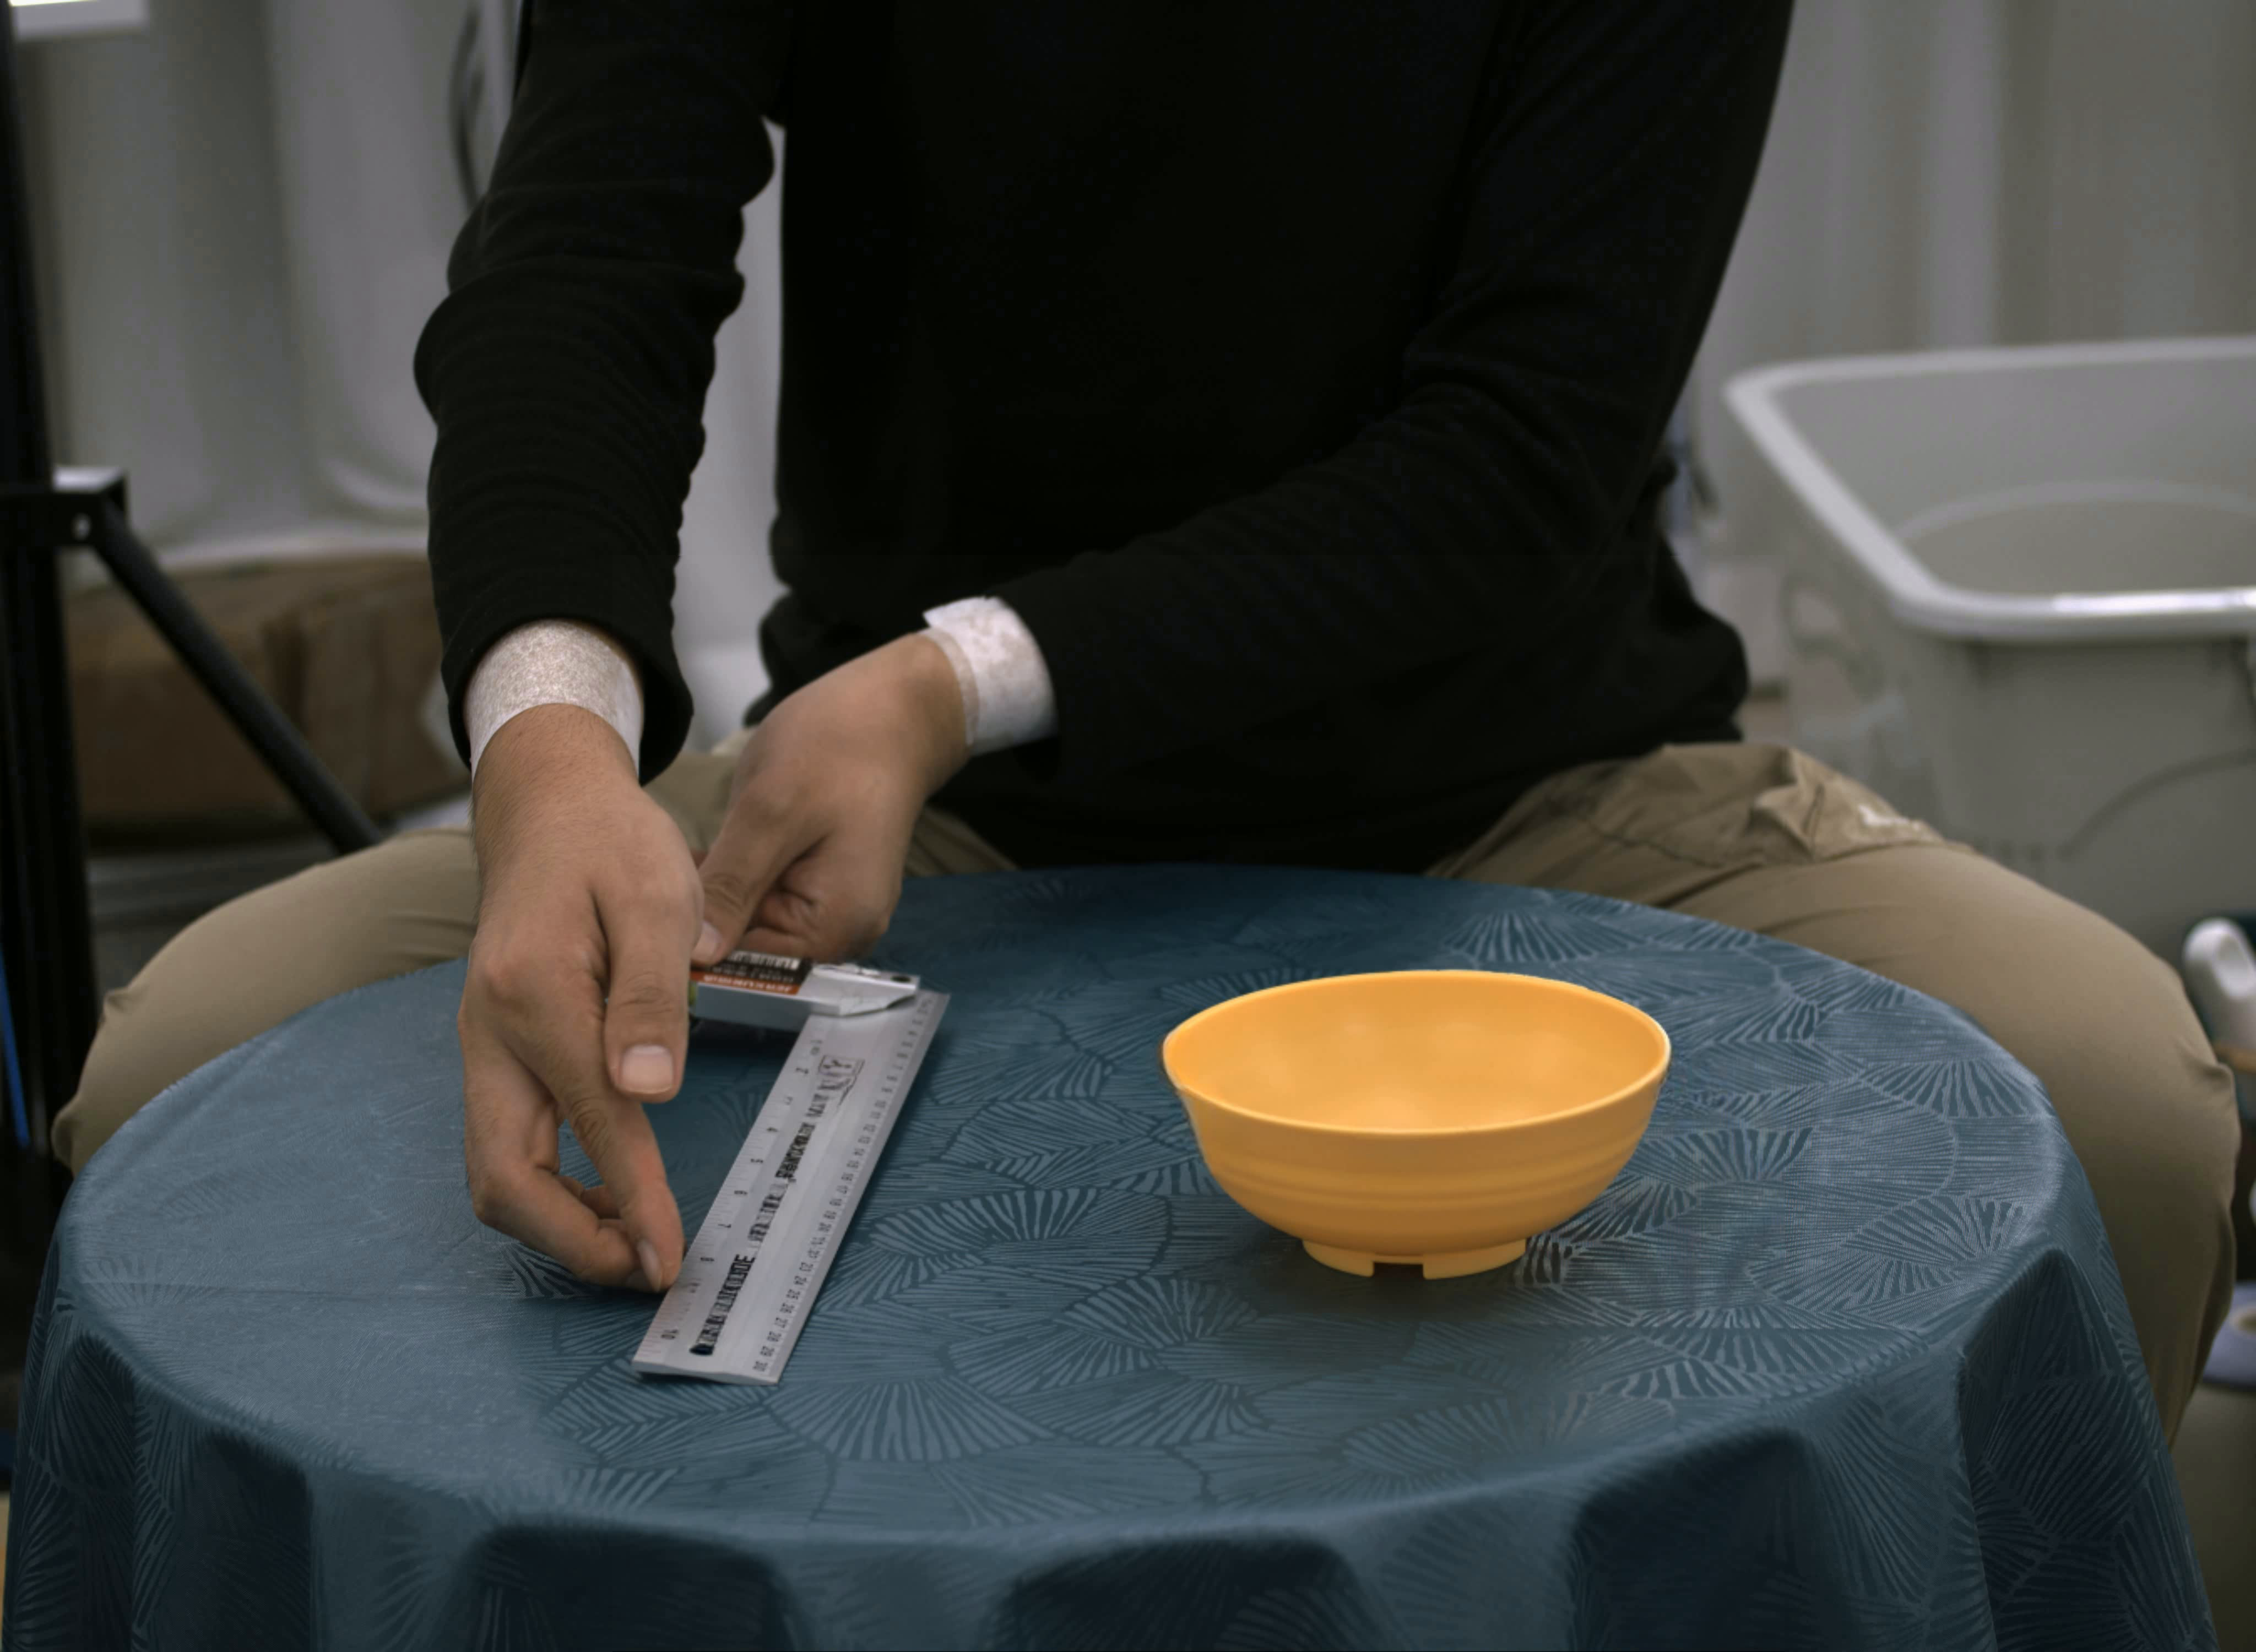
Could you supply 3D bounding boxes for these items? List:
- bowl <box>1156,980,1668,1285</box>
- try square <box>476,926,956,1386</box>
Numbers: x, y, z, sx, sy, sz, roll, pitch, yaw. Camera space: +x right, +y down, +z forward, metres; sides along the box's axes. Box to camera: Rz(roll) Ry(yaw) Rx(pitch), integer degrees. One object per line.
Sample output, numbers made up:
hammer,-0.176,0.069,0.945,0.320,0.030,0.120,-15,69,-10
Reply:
bowl,0.080,0.092,1.500,0.144,0.060,0.146,0,14,-1
try square,-0.147,0.093,1.581,0.152,0.016,0.312,5,19,6
